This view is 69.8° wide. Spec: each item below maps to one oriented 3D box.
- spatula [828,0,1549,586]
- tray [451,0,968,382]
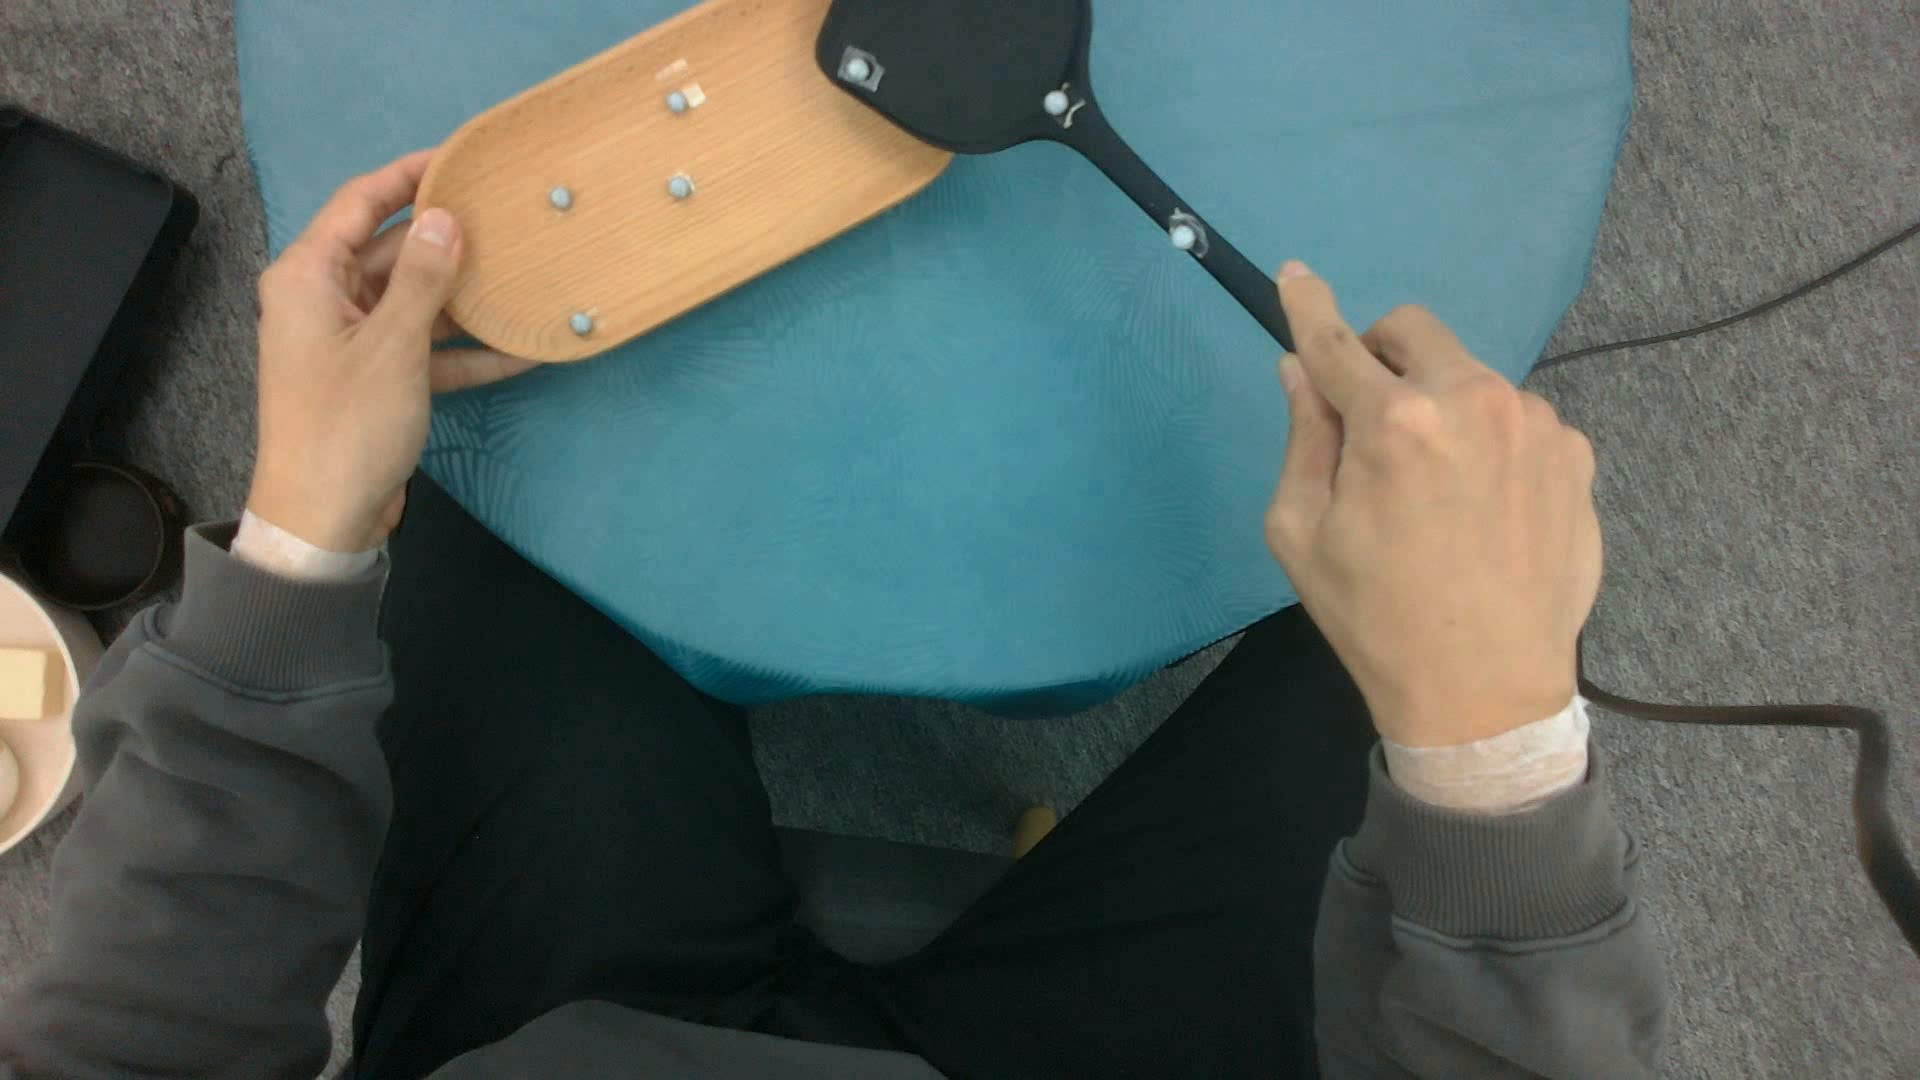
[{"bbox_3d":[0.080,-0.101,0.491,0.326,0.040,0.099,48,117,19],"label":"spatula"},{"bbox_3d":[-0.097,-0.146,0.565,0.231,0.020,0.101,-28,95,-4],"label":"tray"}]
